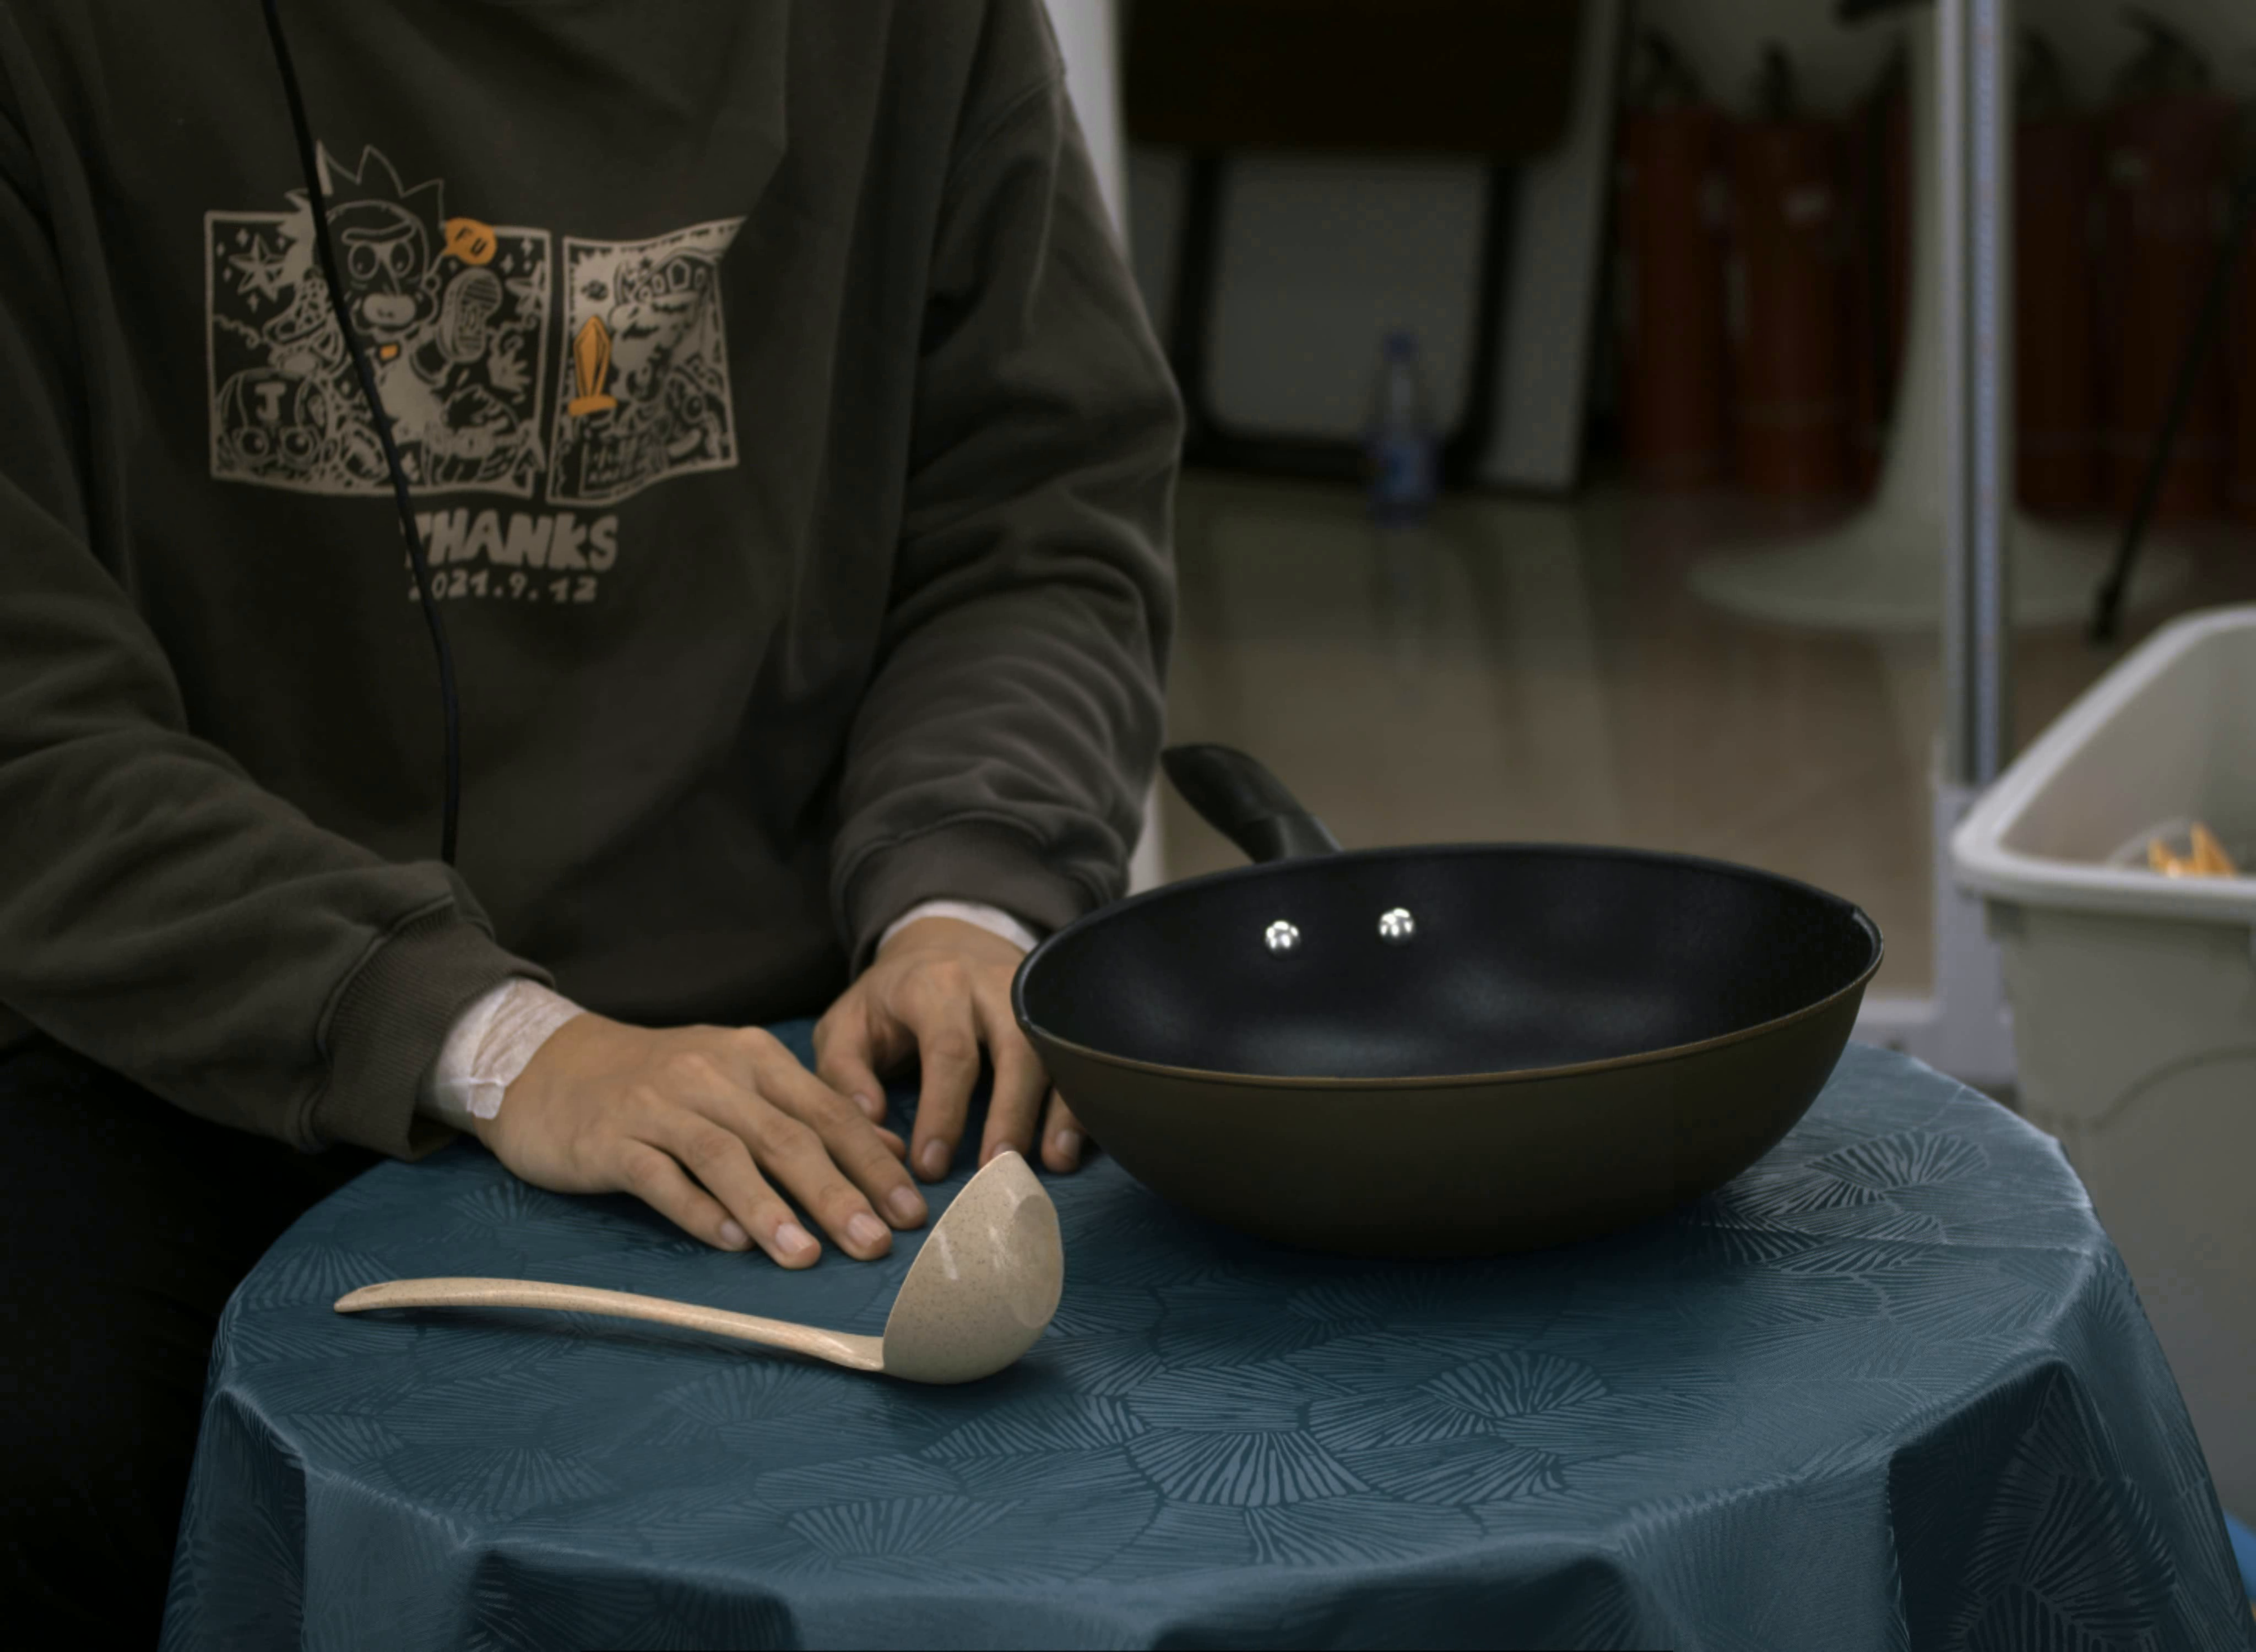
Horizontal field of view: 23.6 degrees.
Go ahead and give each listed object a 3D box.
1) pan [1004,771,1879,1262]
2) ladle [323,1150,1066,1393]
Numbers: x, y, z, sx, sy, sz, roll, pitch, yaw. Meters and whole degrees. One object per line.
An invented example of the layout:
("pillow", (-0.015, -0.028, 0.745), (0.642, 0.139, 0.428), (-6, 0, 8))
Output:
("pan", (0.081, 0.061, 1.826), (0.283, 0.088, 0.466), (-7, 13, -12))
("ladle", (-0.139, 0.126, 1.642), (0.255, 0.073, 0.071), (4, 17, 25))
